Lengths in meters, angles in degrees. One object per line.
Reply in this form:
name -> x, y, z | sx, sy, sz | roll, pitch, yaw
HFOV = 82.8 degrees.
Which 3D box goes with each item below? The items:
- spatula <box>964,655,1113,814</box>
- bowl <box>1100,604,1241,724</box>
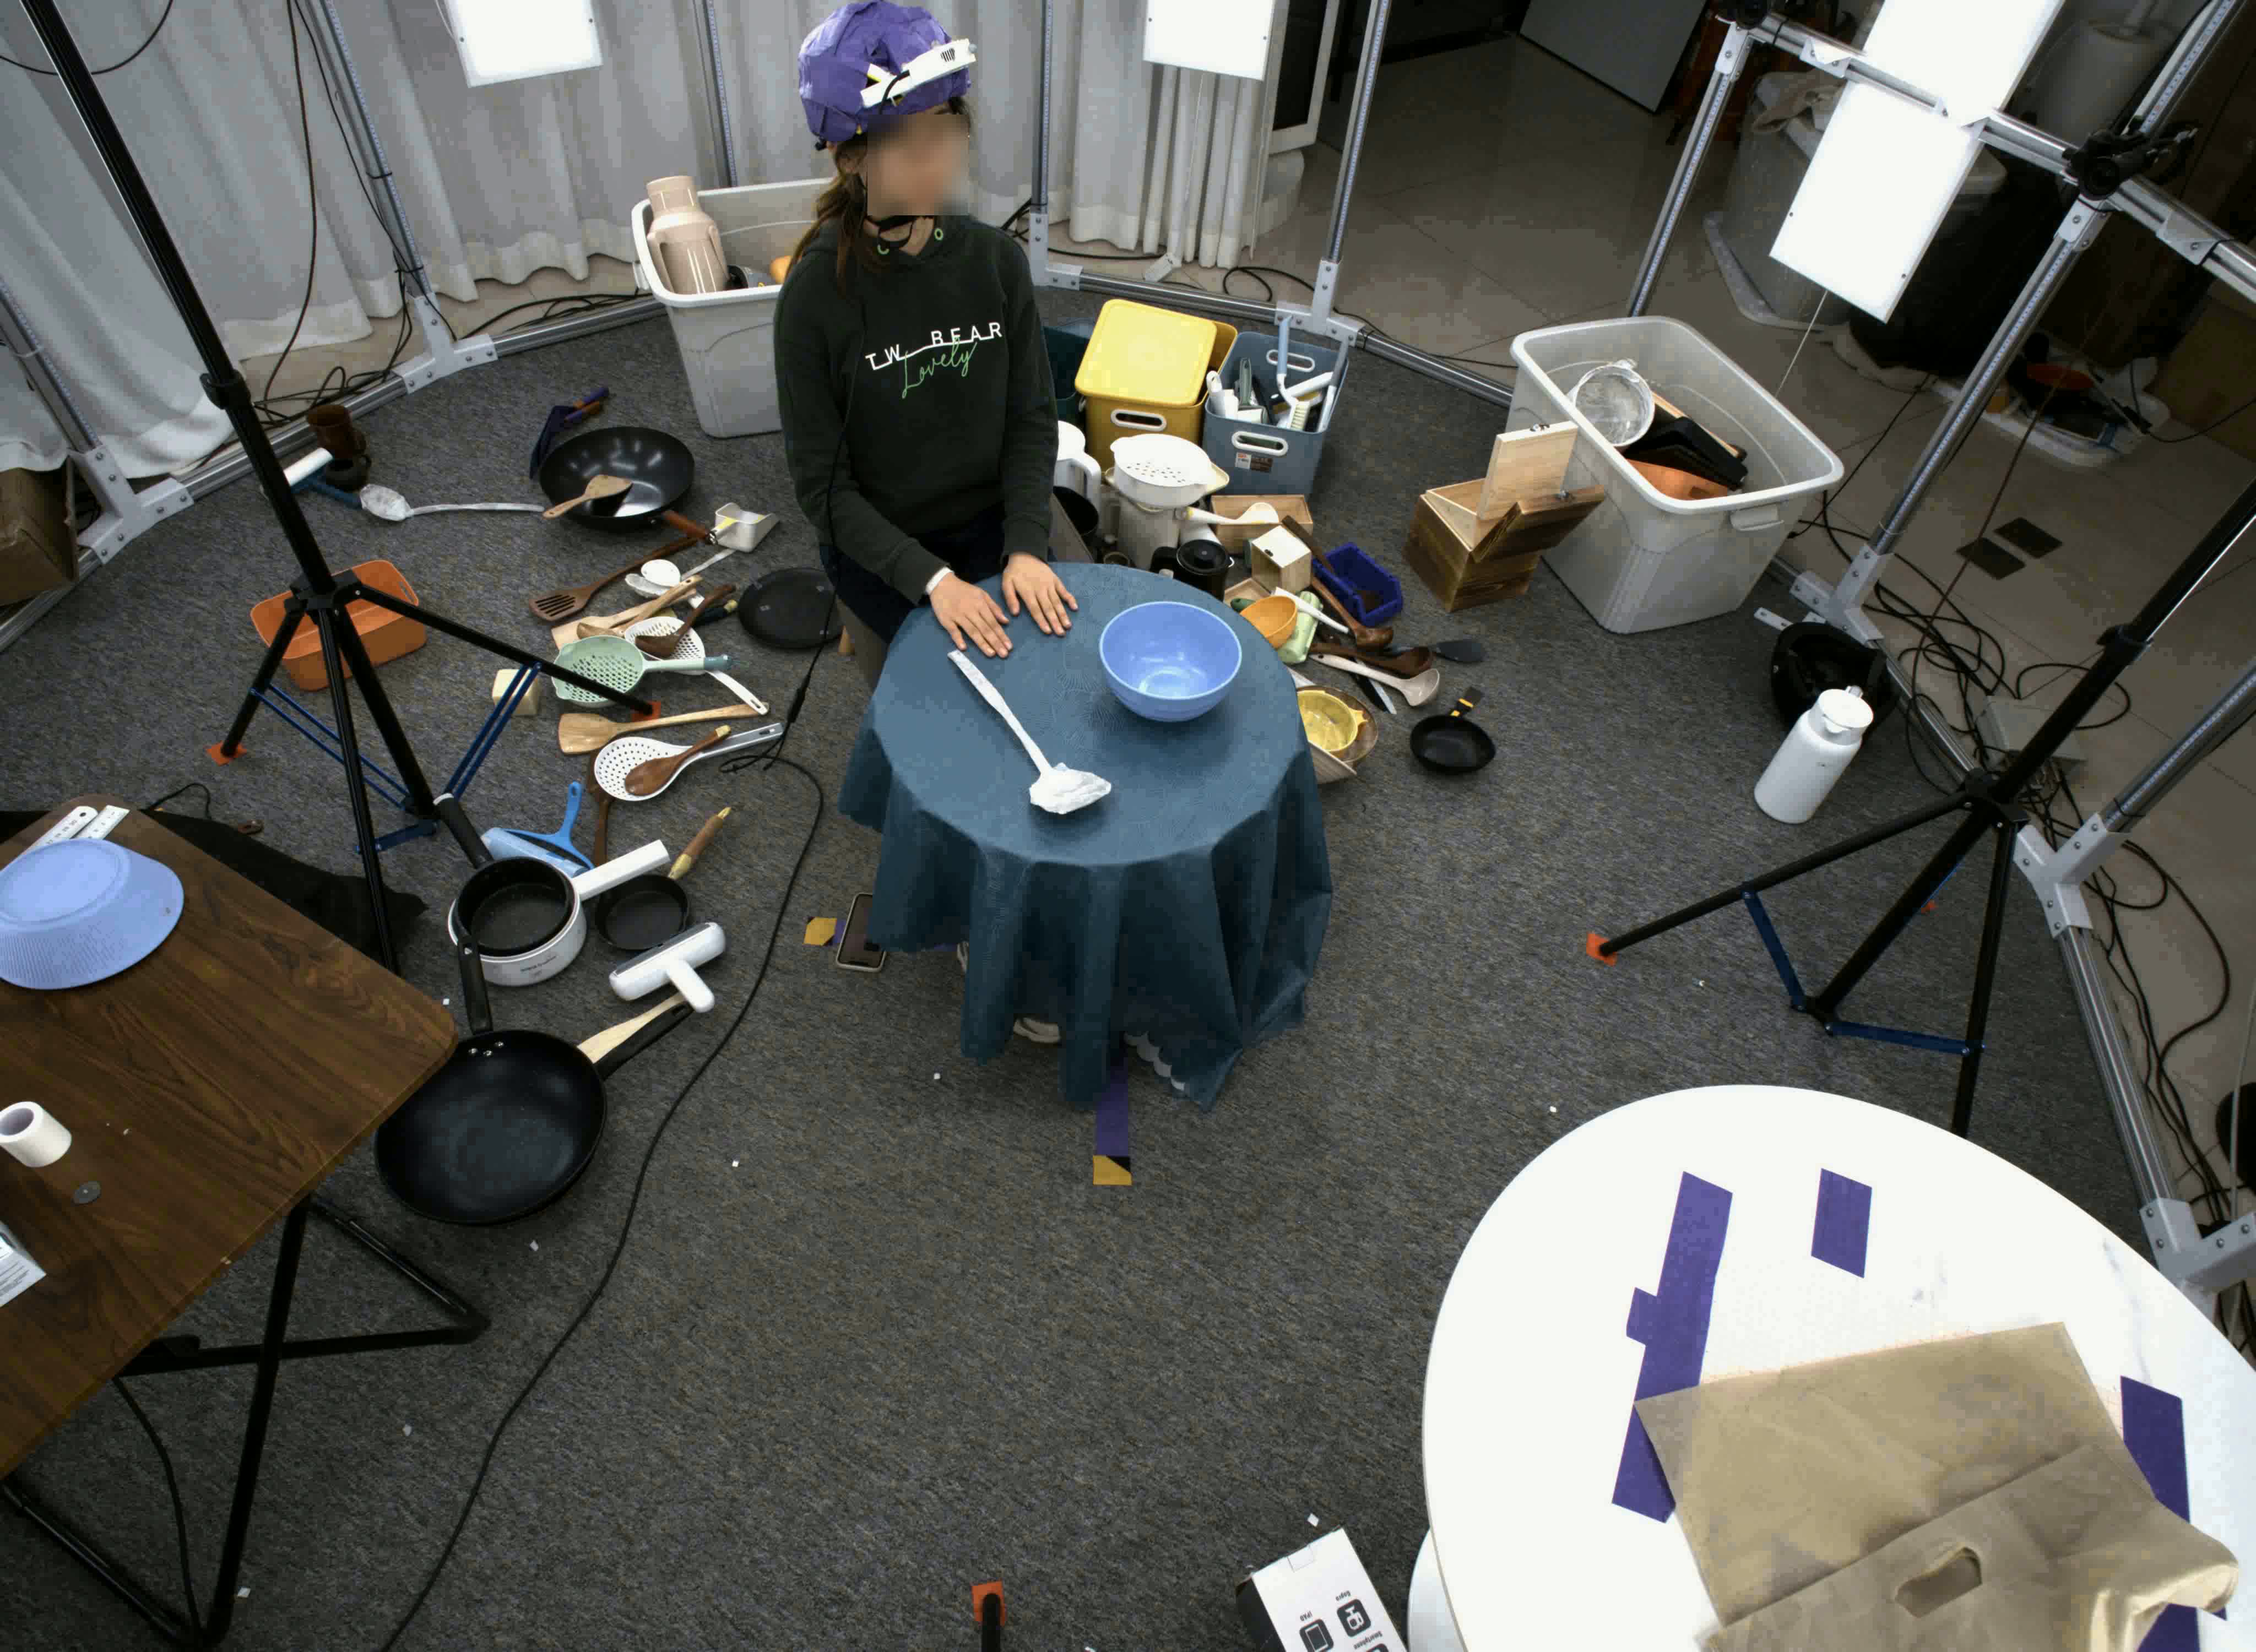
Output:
spatula -> -0.146, -0.137, 1.768 | 0.099, 0.043, 0.372 | -23, 54, -20
bowl -> 0.057, -0.214, 1.813 | 0.196, 0.093, 0.201 | 1, 50, -2
